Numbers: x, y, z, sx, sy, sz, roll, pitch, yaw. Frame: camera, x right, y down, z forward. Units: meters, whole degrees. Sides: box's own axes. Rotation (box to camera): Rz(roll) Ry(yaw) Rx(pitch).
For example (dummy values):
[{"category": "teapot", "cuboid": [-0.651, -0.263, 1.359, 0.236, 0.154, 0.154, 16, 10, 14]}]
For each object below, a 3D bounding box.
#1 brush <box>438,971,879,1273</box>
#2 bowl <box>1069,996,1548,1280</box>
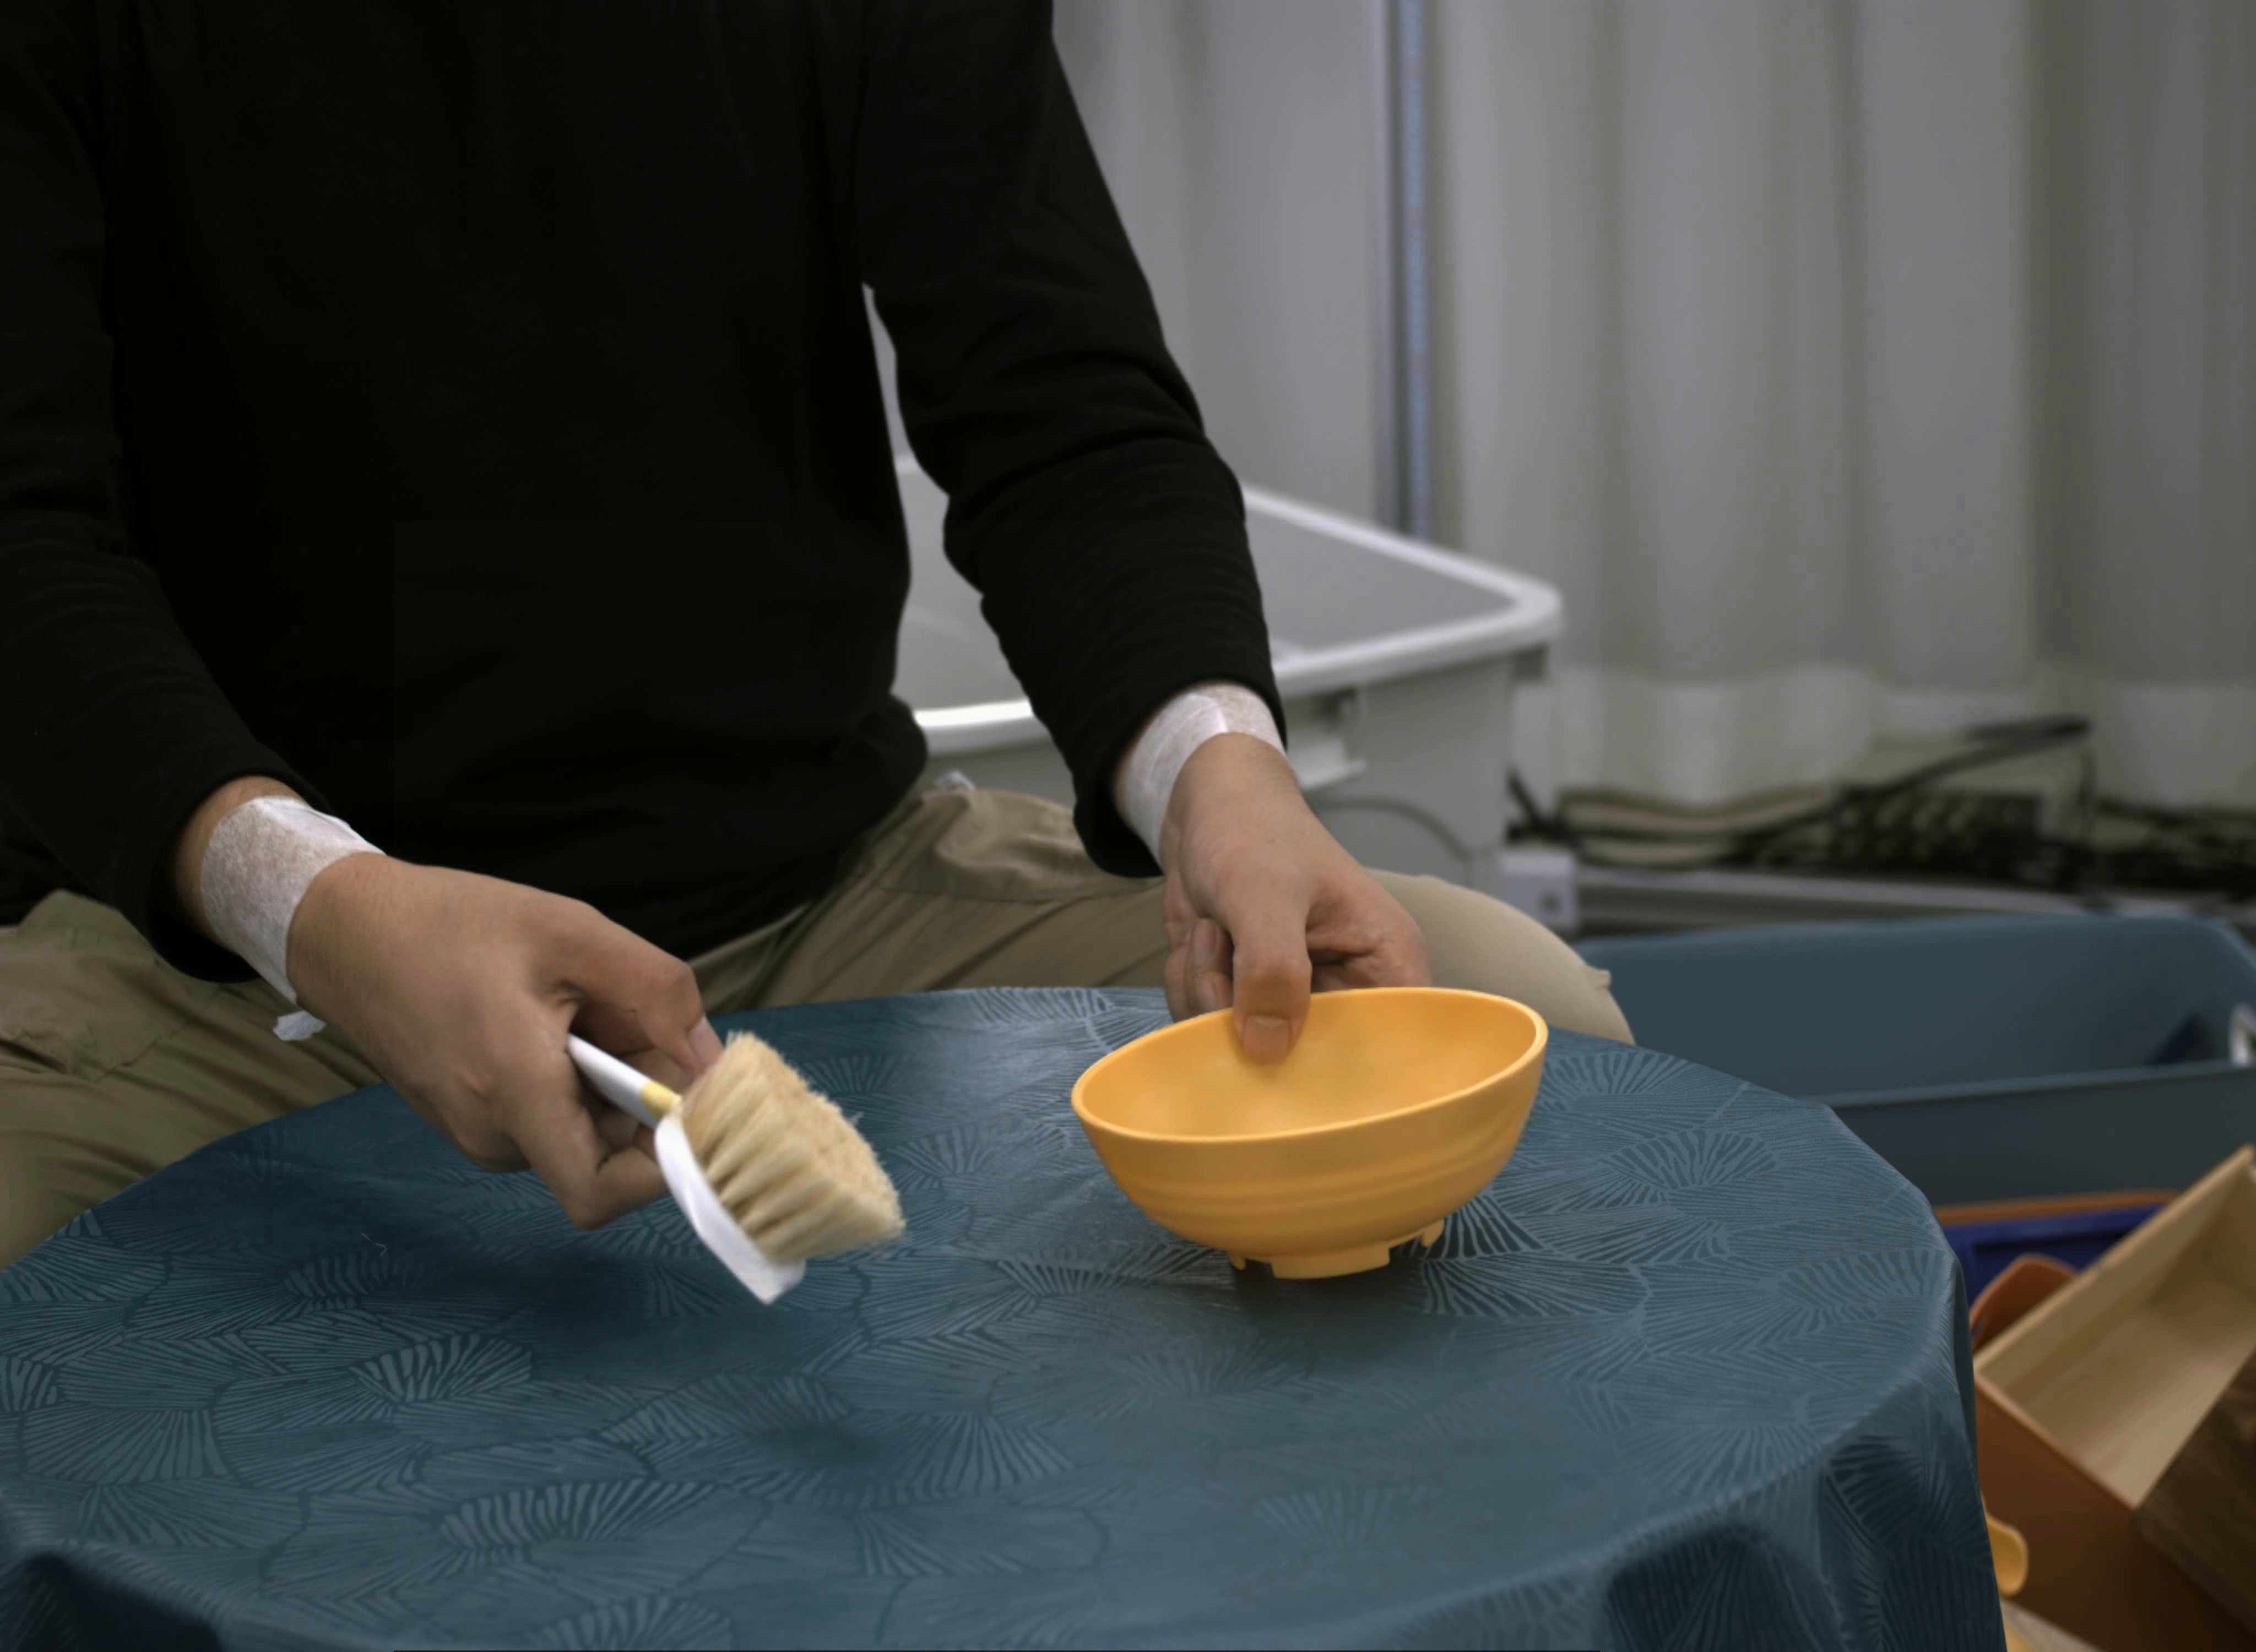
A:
[{"category": "brush", "cuboid": [-0.142, 0.067, 1.602, 0.056, 0.068, 0.268, -41, 24, -10]}, {"category": "bowl", "cuboid": [0.057, 0.098, 1.640, 0.145, 0.060, 0.146, -8, 12, 1]}]
